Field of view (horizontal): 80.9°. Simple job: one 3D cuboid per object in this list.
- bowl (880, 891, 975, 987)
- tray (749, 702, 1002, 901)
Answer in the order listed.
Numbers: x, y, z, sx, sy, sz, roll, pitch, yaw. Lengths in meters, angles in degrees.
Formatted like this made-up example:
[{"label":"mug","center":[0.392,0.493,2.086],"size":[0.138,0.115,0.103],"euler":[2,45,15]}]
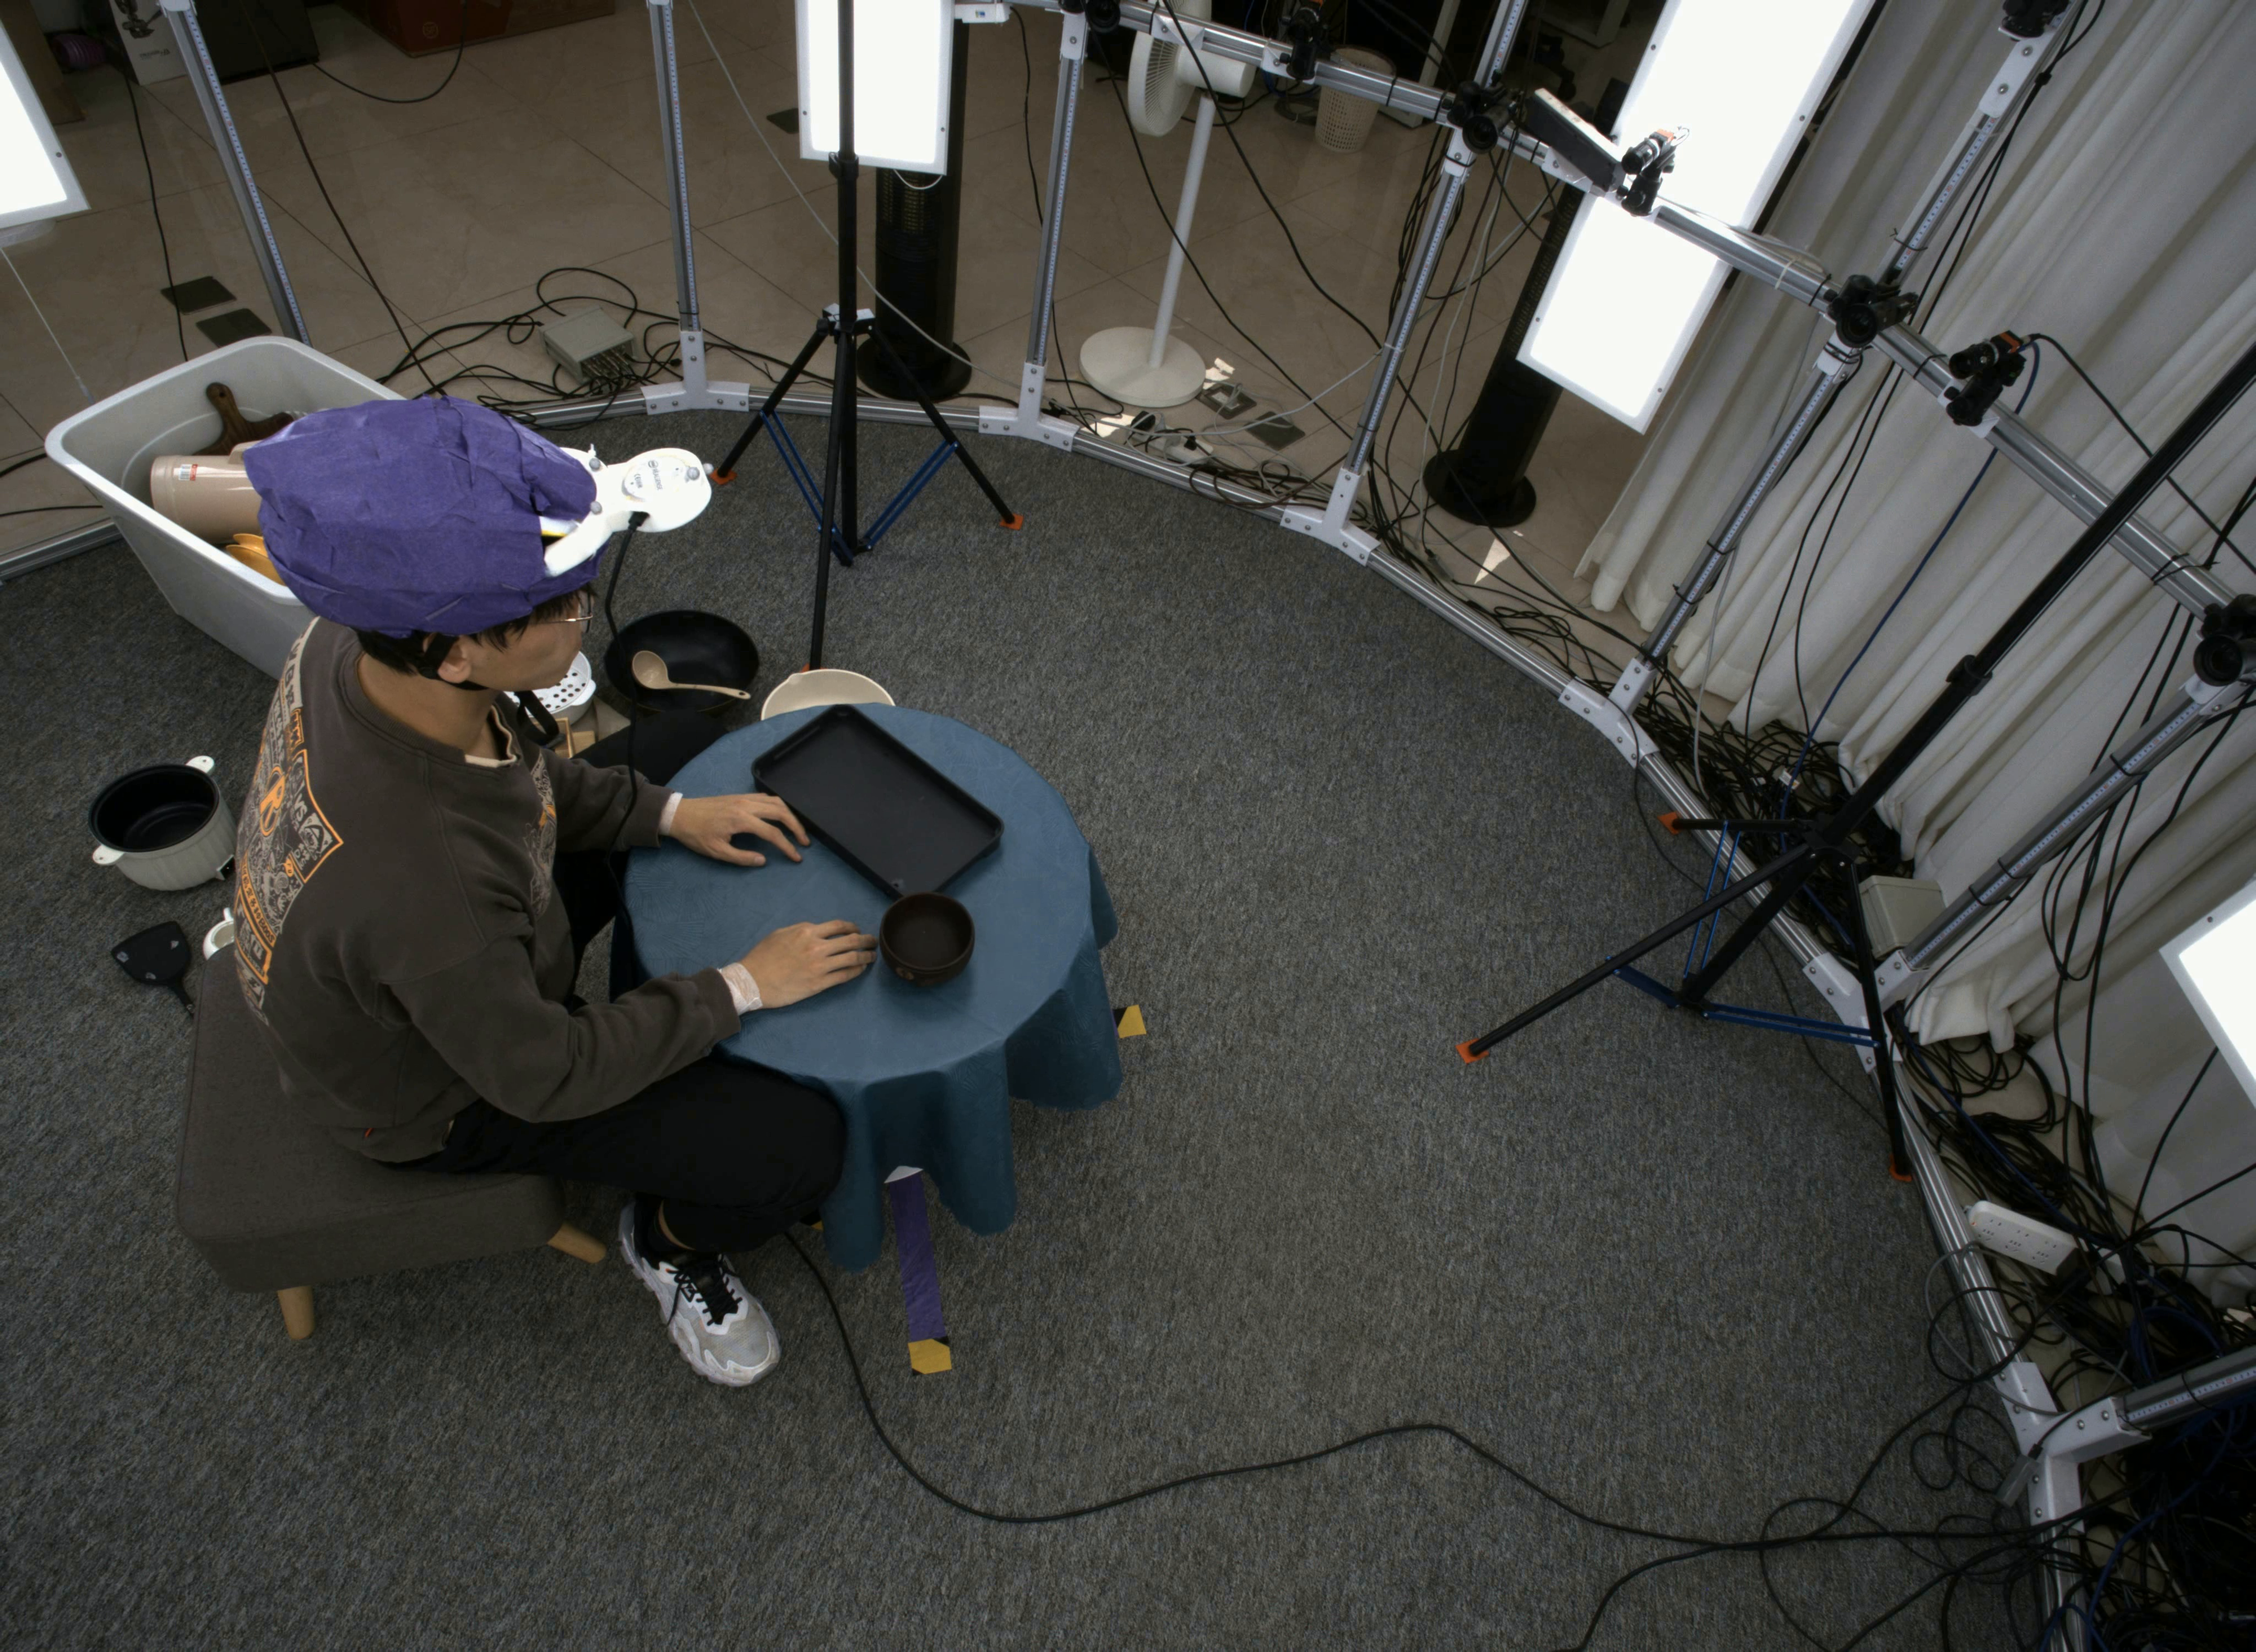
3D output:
[{"label":"bowl","center":[-0.250,0.147,1.627],"size":[0.117,0.071,0.116],"euler":[6,54,-6]},{"label":"tray","center":[-0.341,-0.032,1.760],"size":[0.312,0.038,0.184],"euler":[35,55,12]}]
